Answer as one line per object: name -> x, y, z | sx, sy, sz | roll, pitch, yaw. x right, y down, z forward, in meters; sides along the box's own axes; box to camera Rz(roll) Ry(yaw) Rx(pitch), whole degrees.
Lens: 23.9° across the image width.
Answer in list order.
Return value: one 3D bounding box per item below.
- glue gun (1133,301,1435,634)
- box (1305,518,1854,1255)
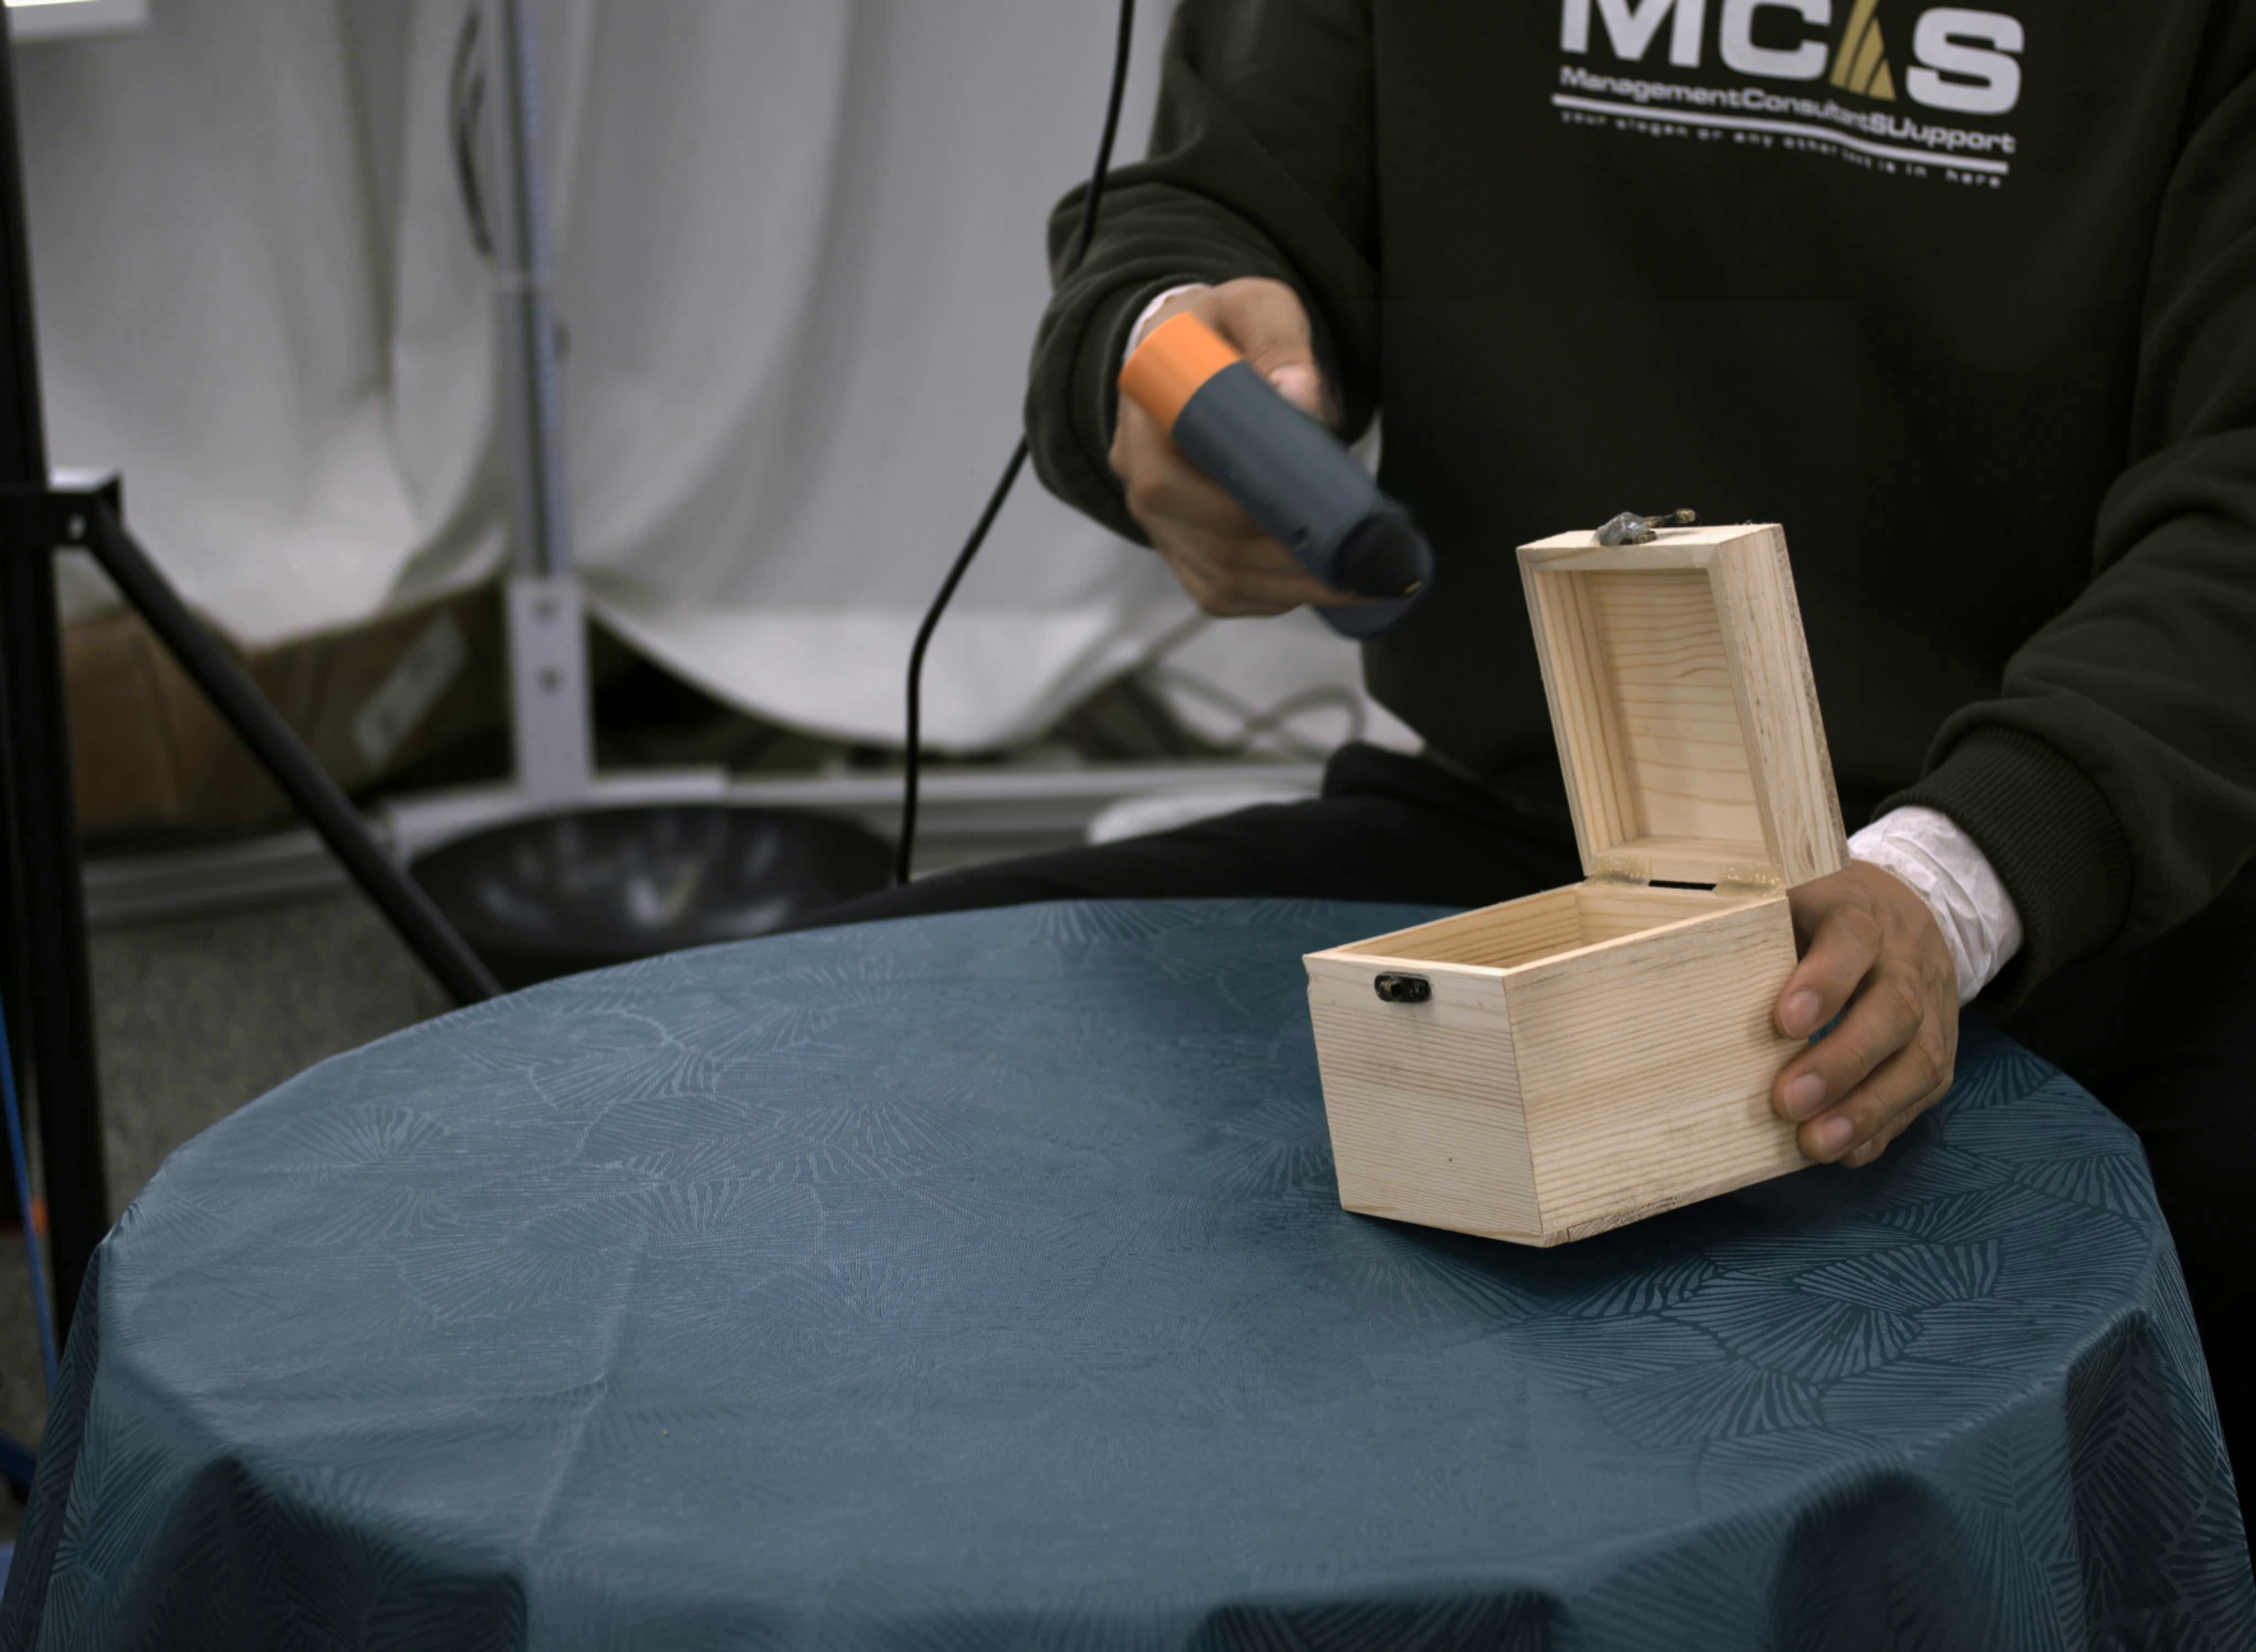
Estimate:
glue gun -> 0.057, -0.100, 1.609 | 0.041, 0.119, 0.138 | -44, -14, 0
box -> 0.124, 0.013, 1.505 | 0.131, 0.185, 0.104 | -13, 8, -30
